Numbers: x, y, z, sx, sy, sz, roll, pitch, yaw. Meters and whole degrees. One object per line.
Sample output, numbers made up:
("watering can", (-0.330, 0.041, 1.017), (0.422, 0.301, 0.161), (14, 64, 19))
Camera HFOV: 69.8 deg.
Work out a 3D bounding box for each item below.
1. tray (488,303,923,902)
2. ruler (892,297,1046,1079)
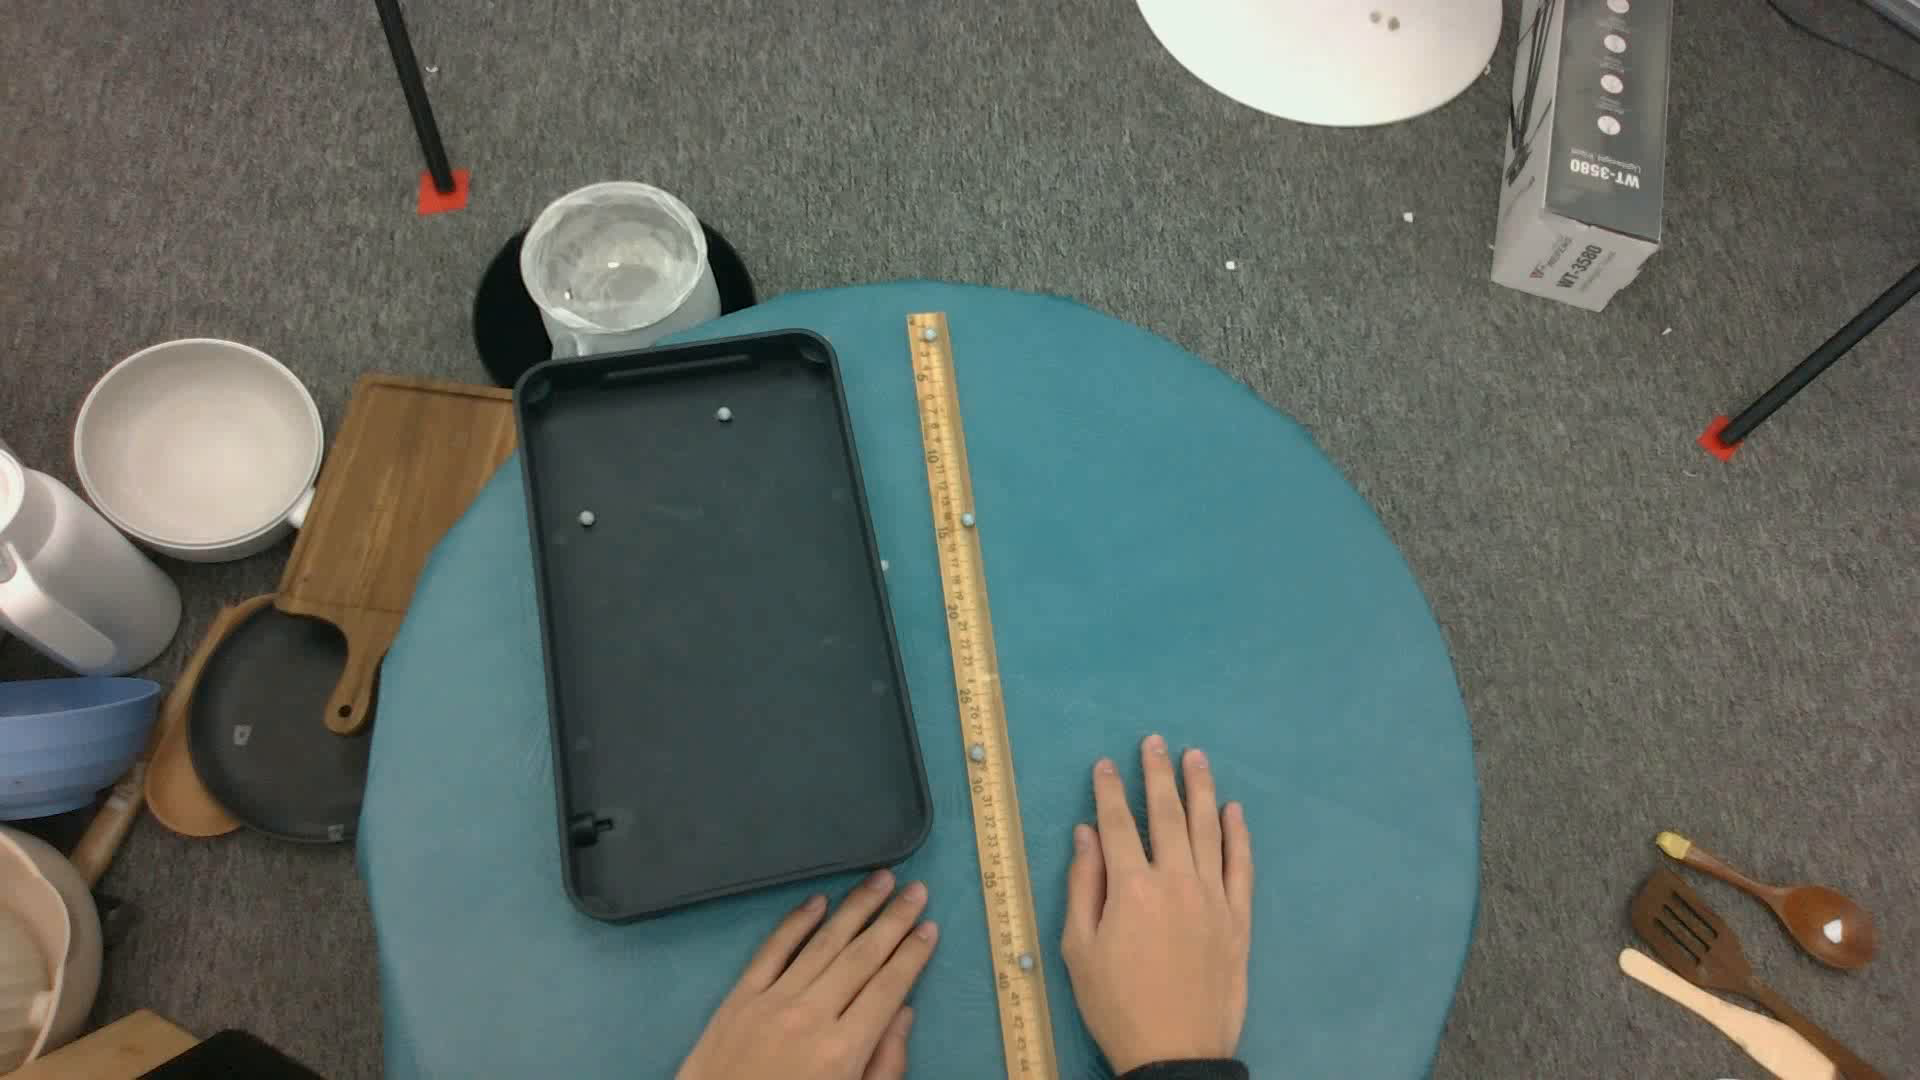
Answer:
("tray", (-0.143, 0.023, 0.751), (0.184, 0.037, 0.319), (-11, 68, -11))
("ruler", (0.002, 0.078, 0.759), (0.027, 0.006, 0.502), (-5, 67, -6))
